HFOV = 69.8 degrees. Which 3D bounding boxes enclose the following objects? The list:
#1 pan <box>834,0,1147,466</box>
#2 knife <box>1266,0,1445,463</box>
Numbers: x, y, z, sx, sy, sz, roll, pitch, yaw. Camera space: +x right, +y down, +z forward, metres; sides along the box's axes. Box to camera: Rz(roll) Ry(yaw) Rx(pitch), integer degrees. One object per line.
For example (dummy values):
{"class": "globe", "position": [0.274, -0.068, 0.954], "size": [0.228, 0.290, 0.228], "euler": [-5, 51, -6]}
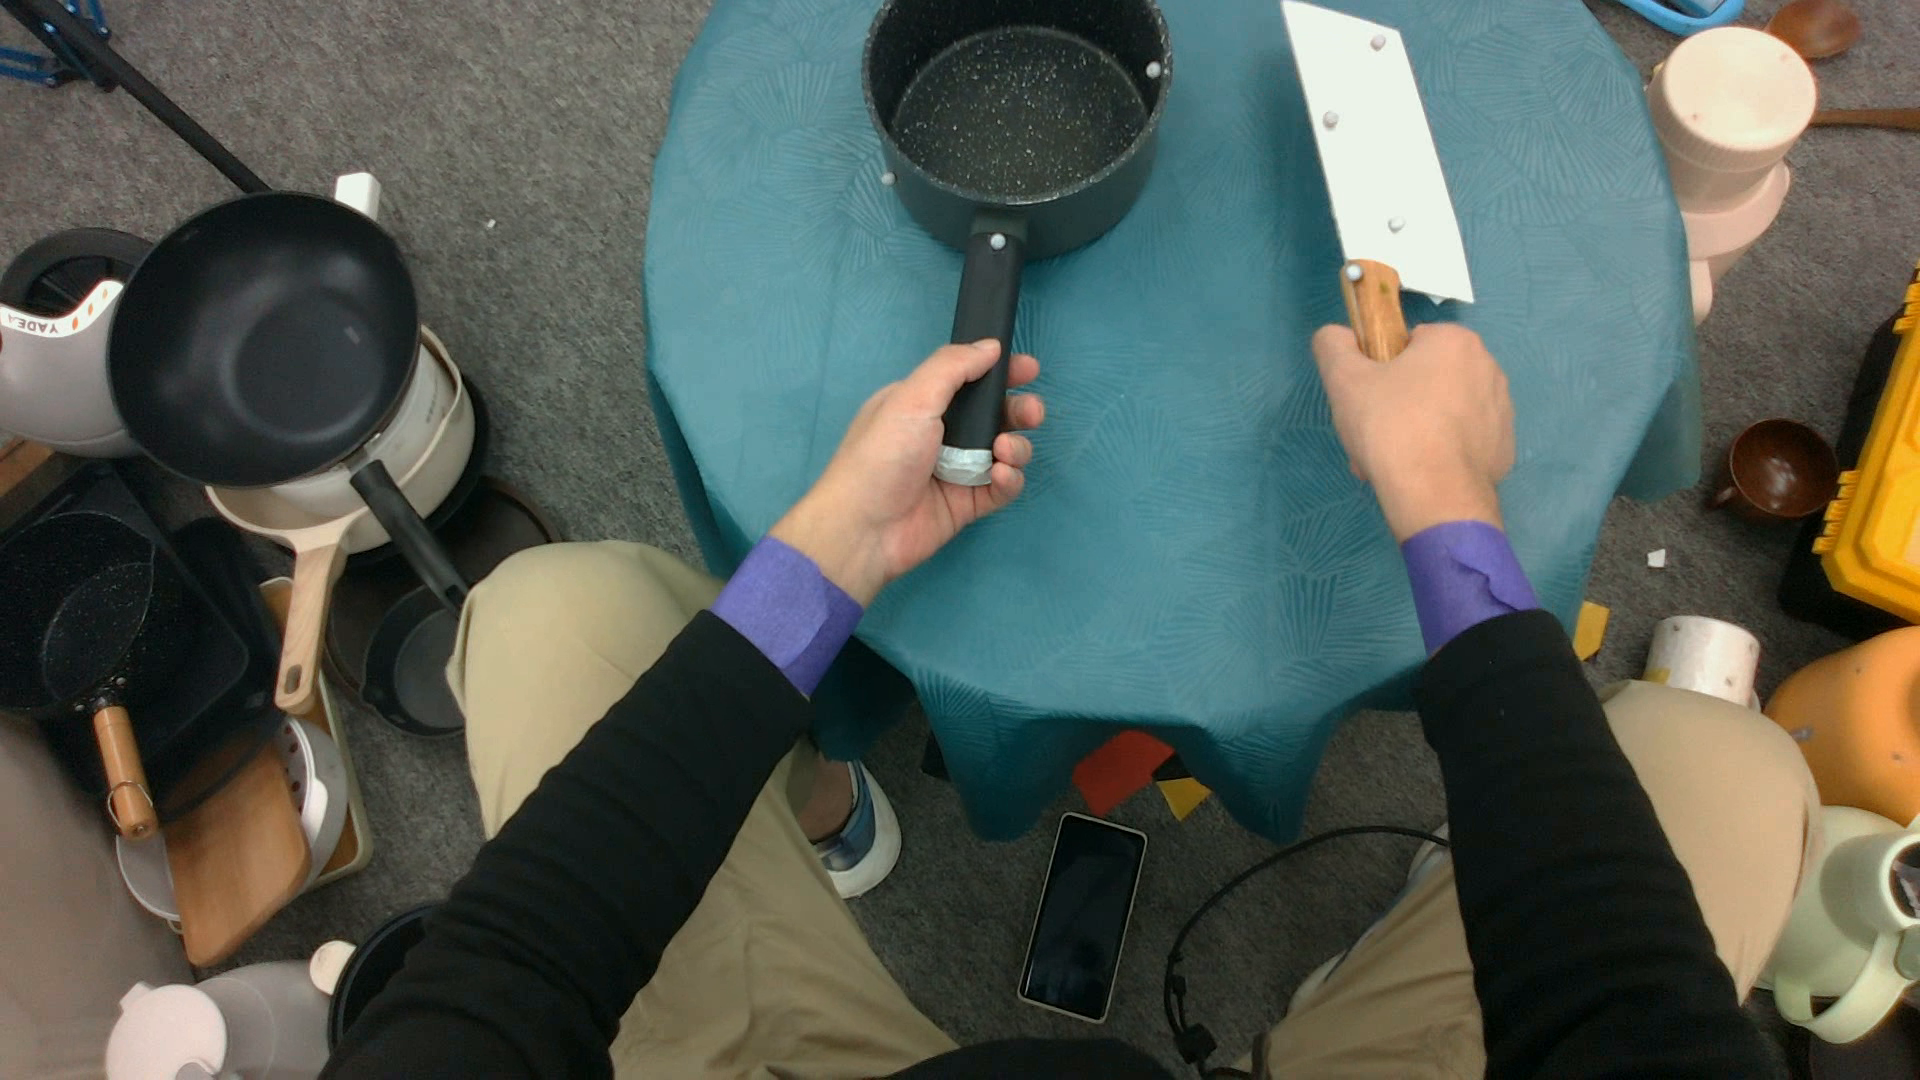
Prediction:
{"class": "pan", "position": [0.007, -0.185, 0.766], "size": [0.172, 0.086, 0.329], "euler": [7, 72, 6]}
{"class": "knife", "position": [0.225, -0.180, 0.756], "size": [0.093, 0.021, 0.306], "euler": [5, 66, -28]}
